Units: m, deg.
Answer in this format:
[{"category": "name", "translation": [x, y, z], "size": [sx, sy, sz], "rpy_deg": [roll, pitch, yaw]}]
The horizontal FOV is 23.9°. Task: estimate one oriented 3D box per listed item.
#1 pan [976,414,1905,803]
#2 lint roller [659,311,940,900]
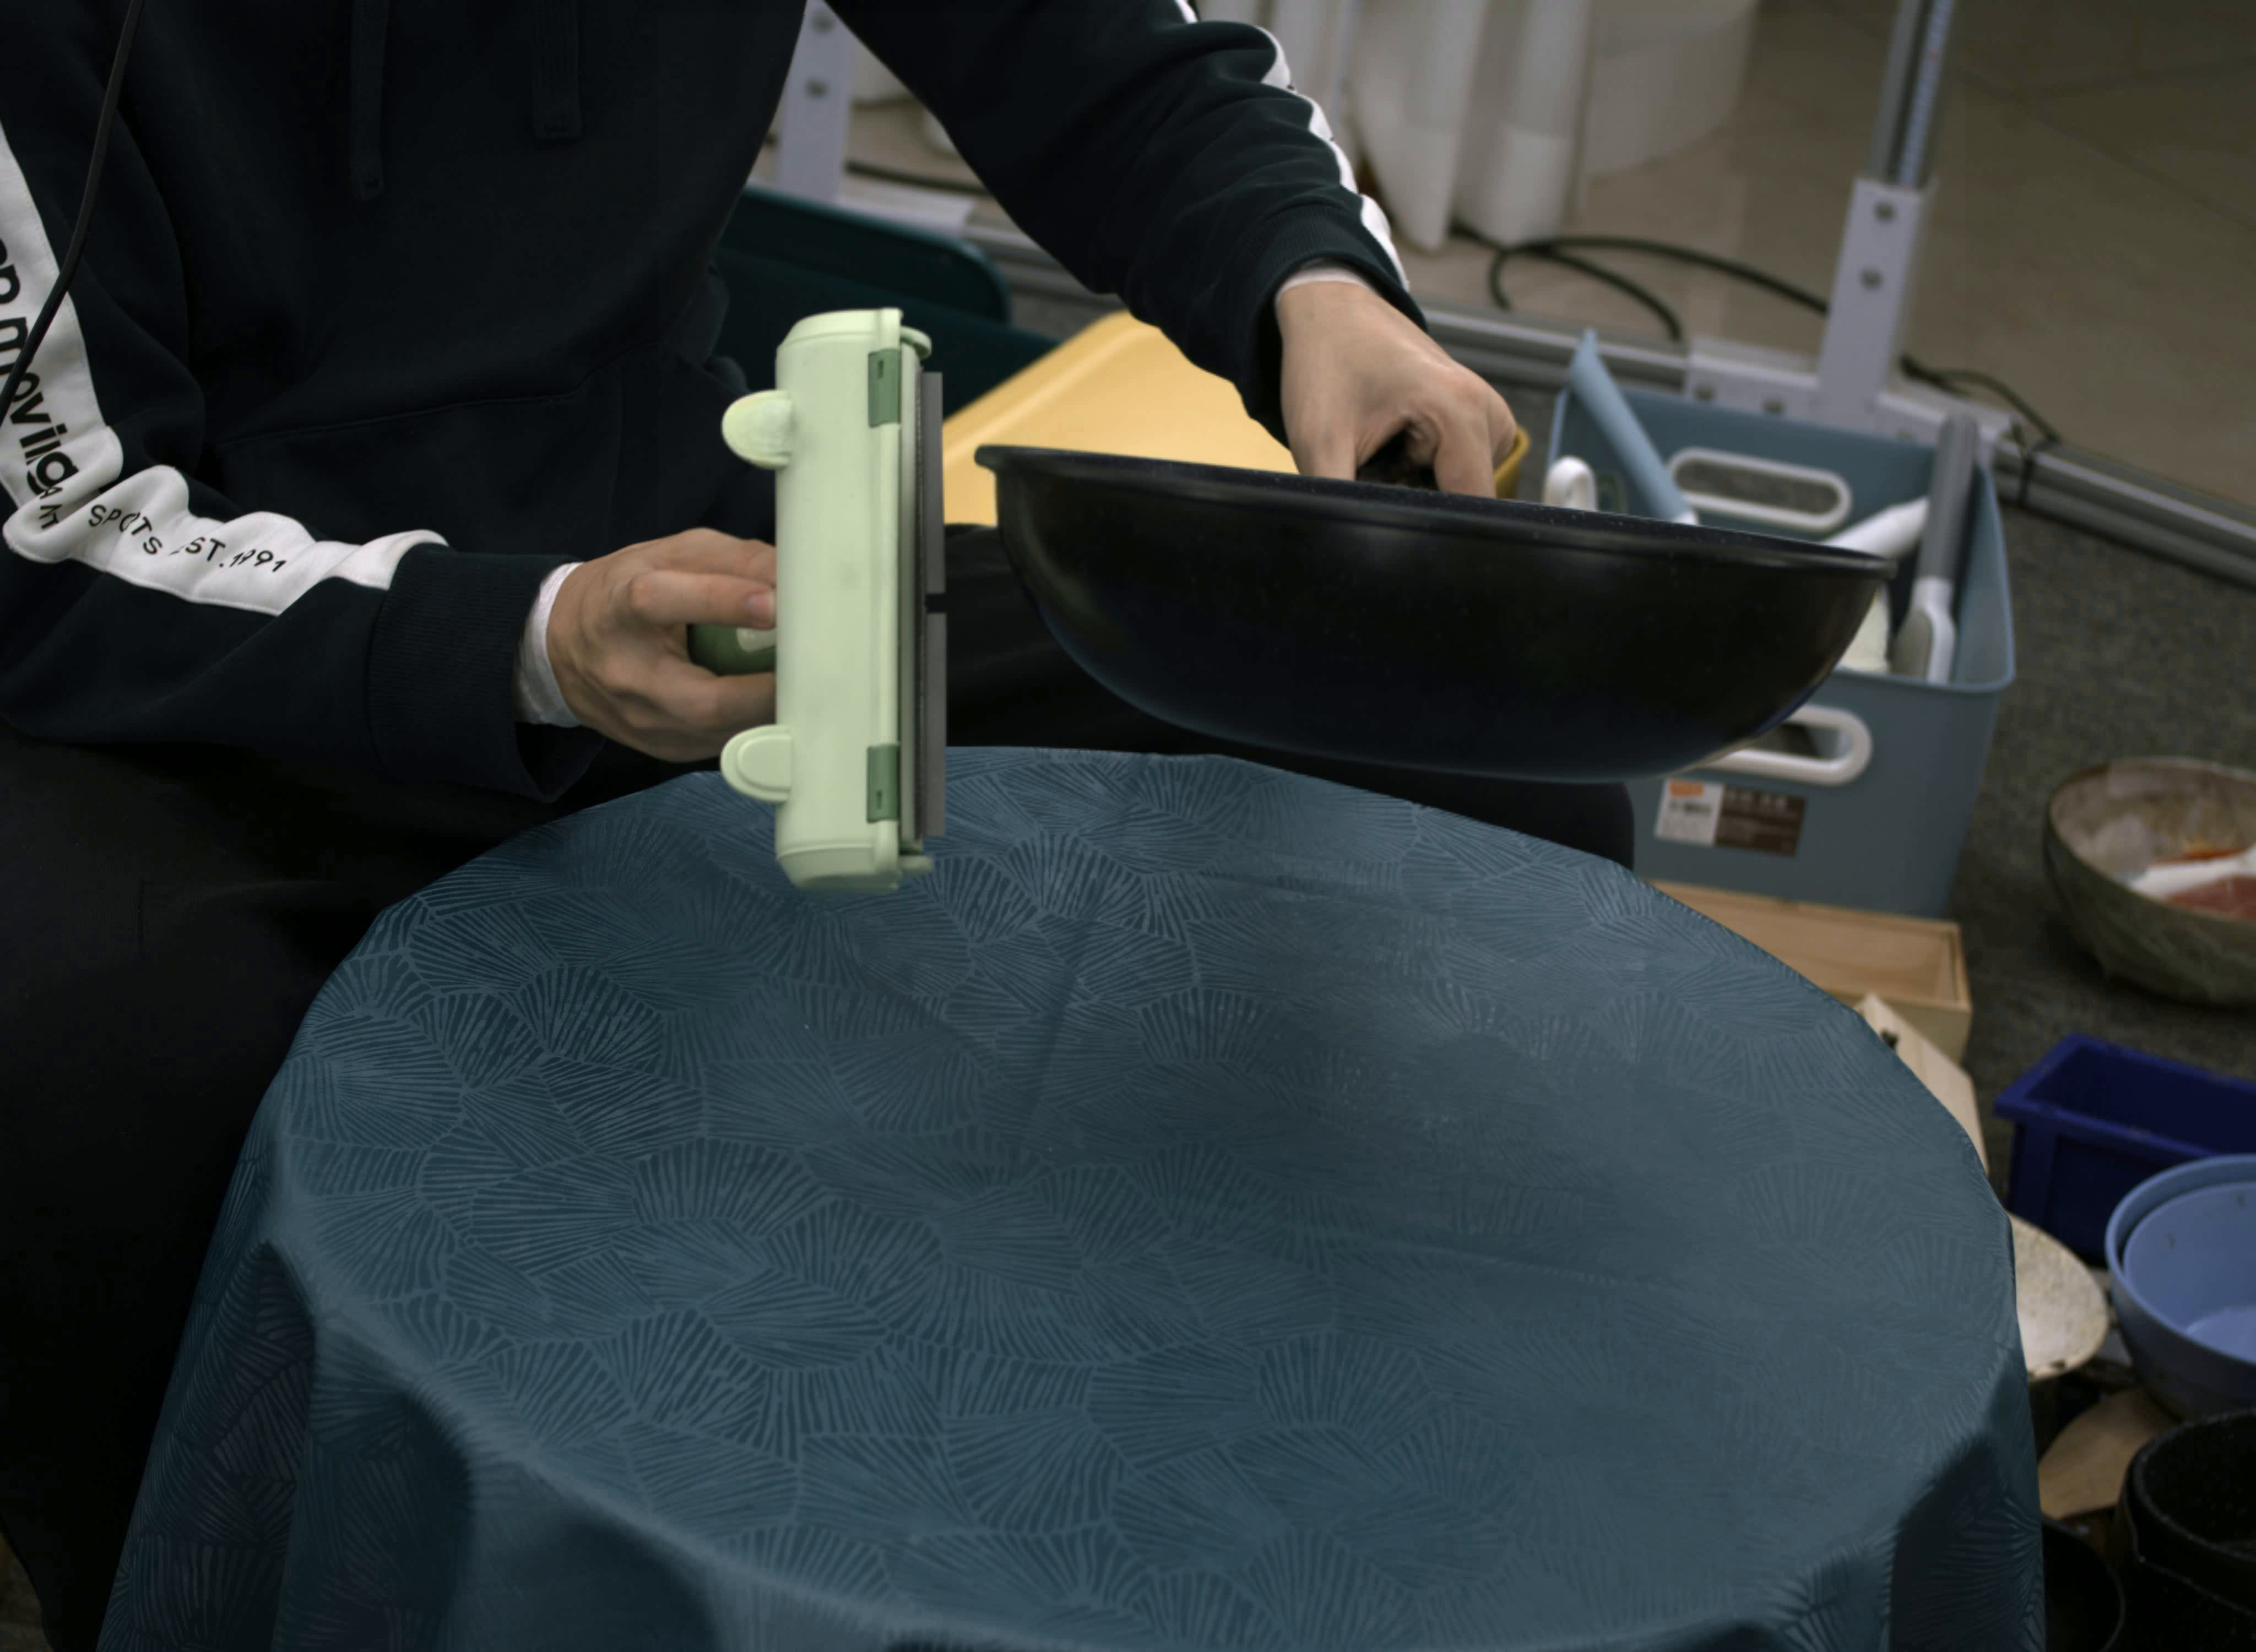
[{"category": "pan", "translation": [0.098, -0.082, 1.846], "size": [0.309, 0.112, 0.477], "rpy_deg": [8, 5, -1]}, {"category": "lint roller", "translation": [-0.133, -0.068, 1.852], "size": [0.081, 0.199, 0.184], "rpy_deg": [6, -11, -37]}]
